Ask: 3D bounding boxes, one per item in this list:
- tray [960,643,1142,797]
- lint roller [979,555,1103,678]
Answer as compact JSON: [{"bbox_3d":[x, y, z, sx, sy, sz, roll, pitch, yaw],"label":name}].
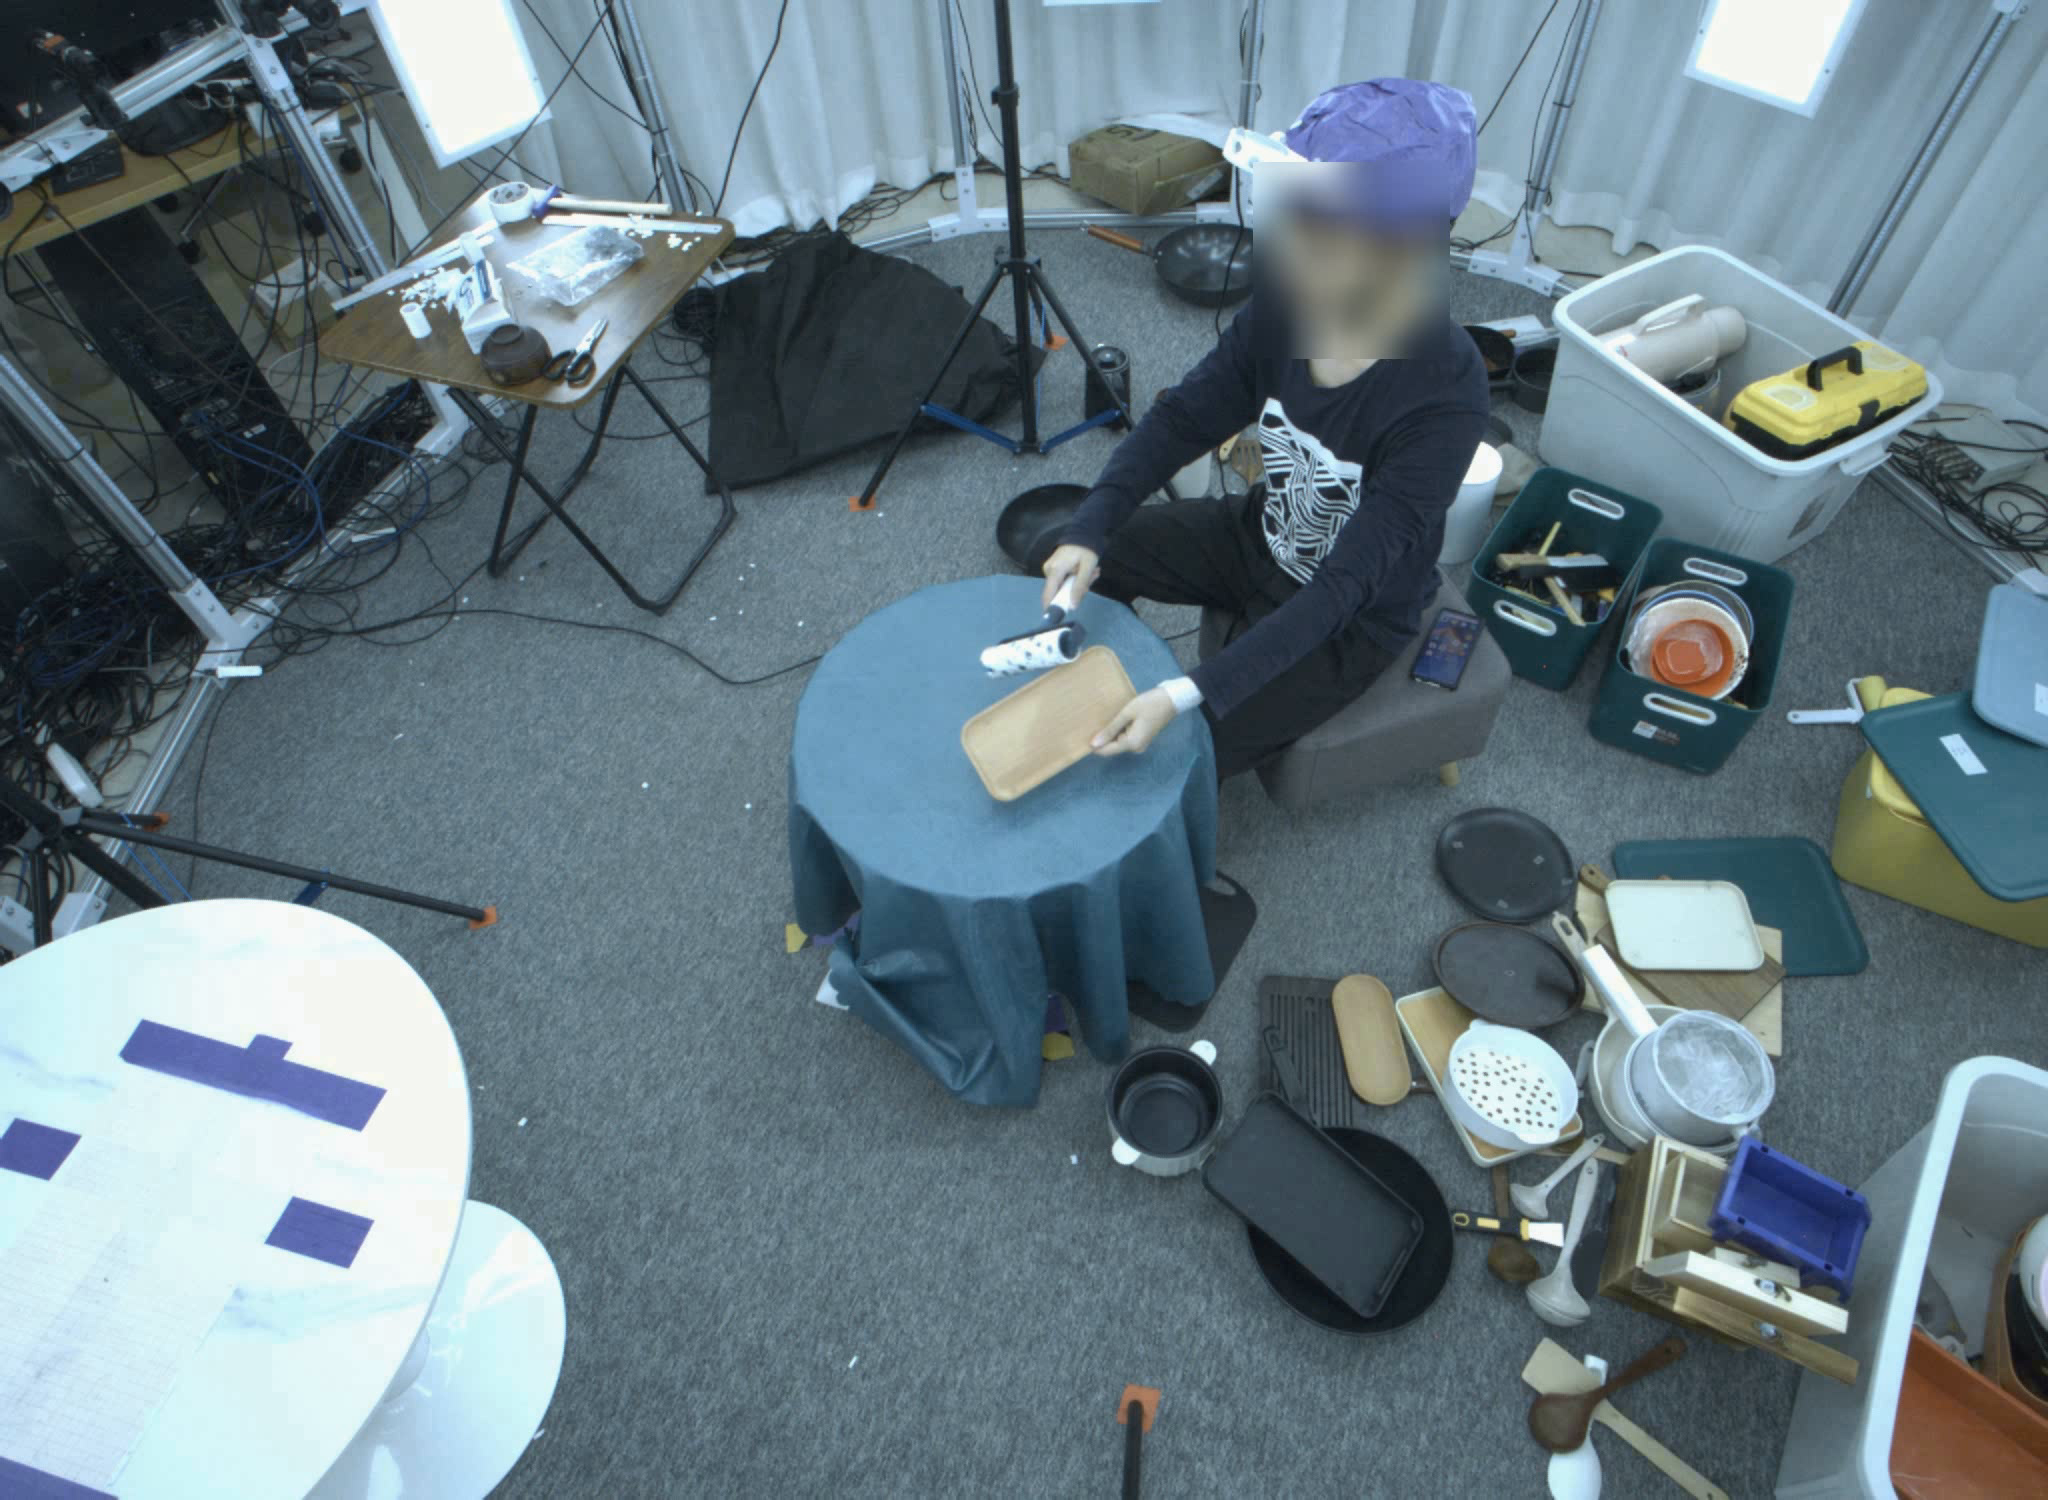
[{"bbox_3d":[0.039,-0.043,1.710,0.252,0.132,0.022,-30,16,-11],"label":"tray"},{"bbox_3d":[0.048,-0.208,1.787,0.173,0.051,0.247,-11,38,47],"label":"lint roller"}]
